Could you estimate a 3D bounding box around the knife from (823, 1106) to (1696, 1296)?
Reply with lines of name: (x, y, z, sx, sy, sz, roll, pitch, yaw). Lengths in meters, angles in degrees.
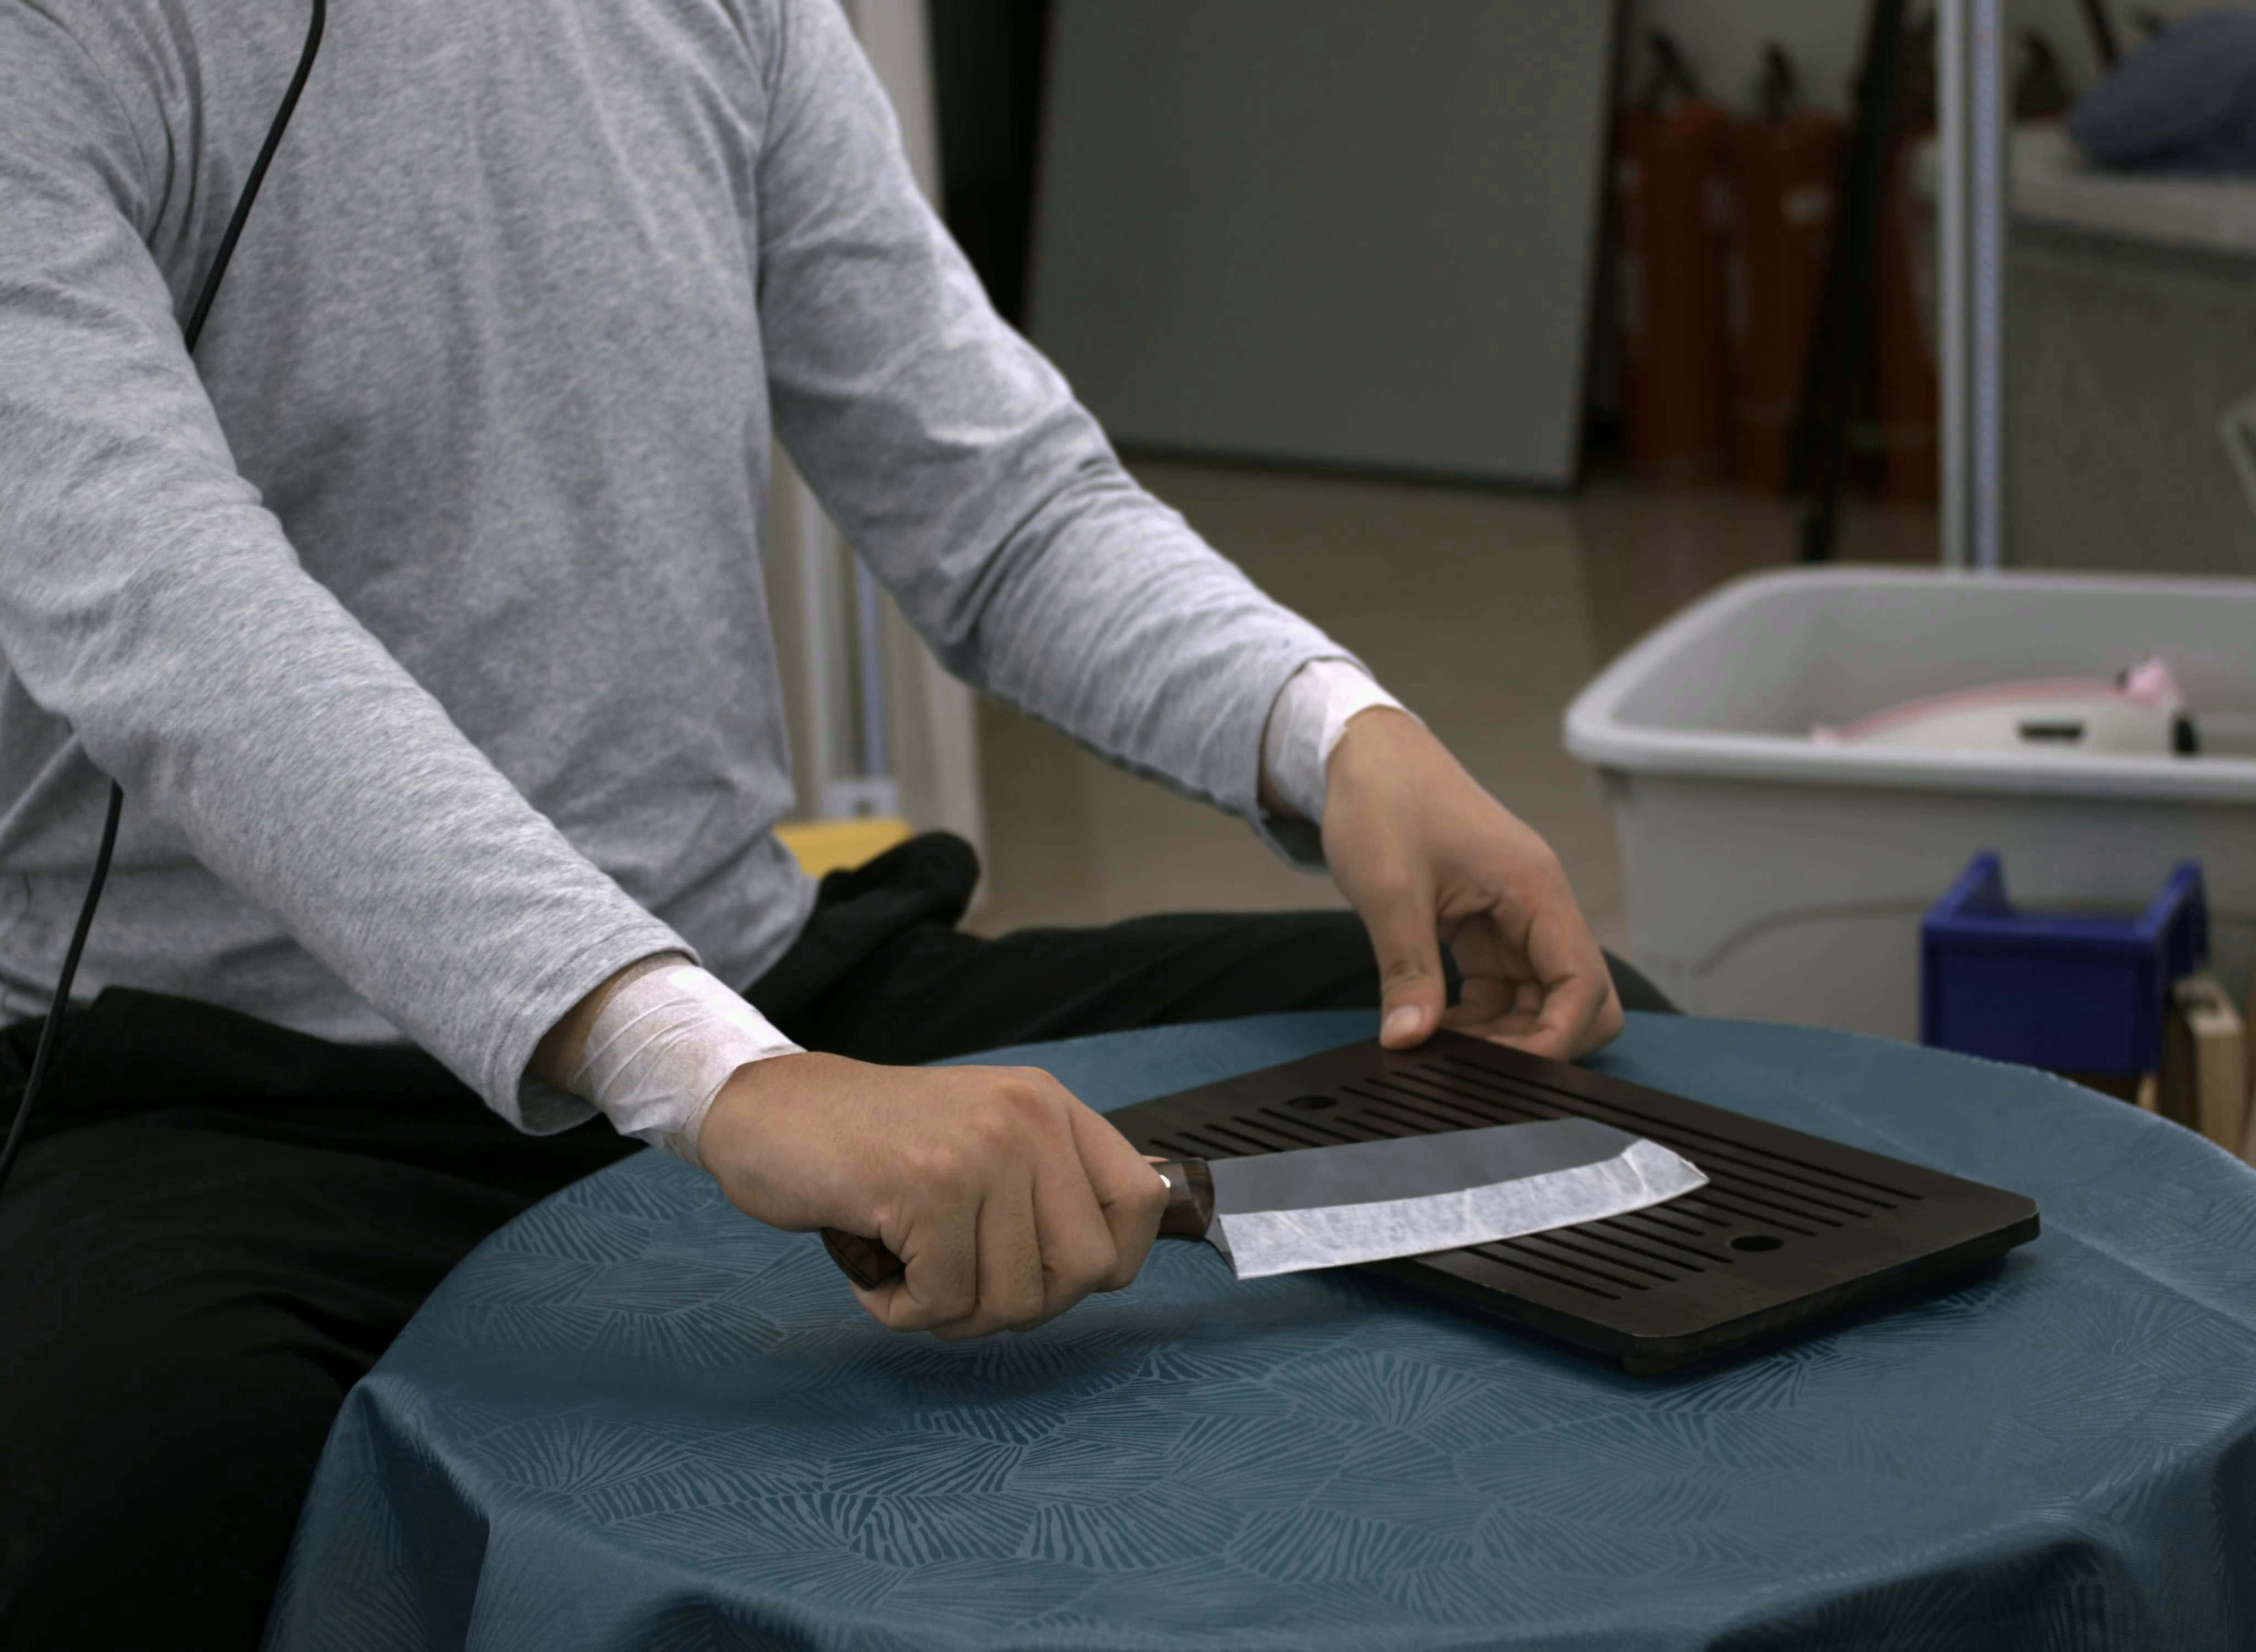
knife: (0.045, 0.116, 1.642, 0.283, 0.020, 0.051, -4, 52, -19)

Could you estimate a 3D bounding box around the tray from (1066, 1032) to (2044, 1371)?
tray: (0.130, 0.116, 1.719, 0.166, 0.019, 0.309, -14, 16, -34)
